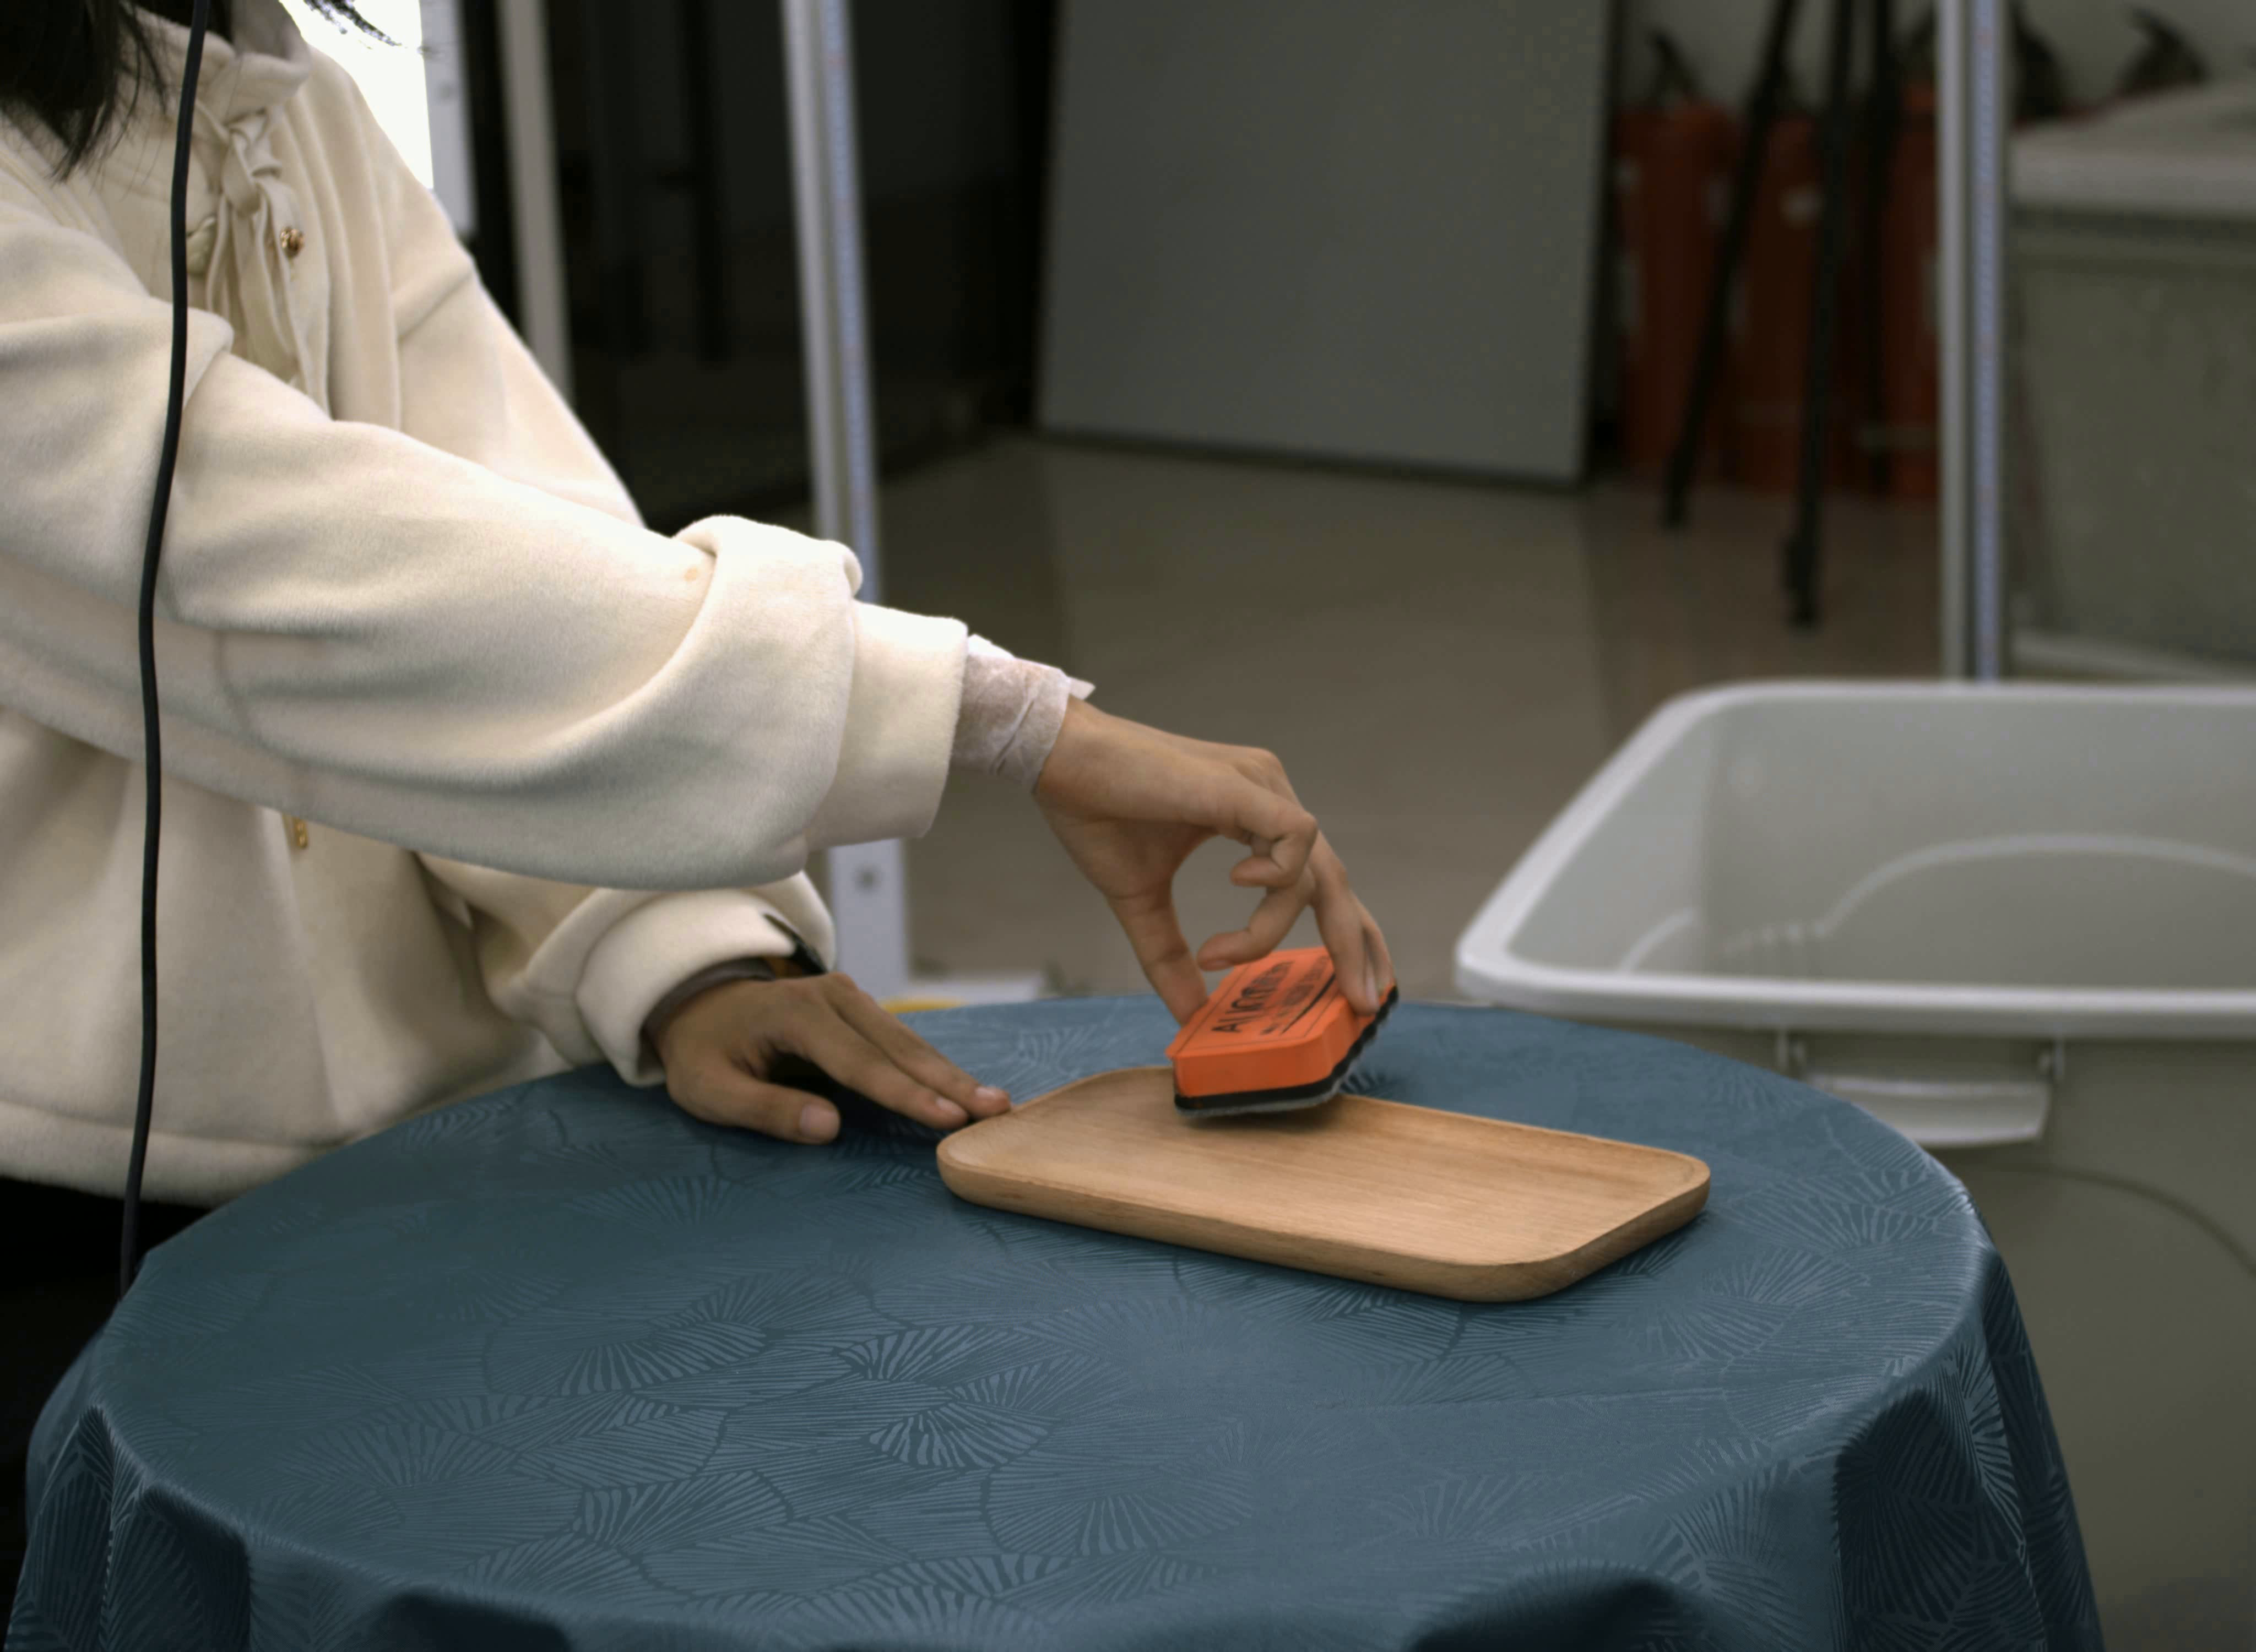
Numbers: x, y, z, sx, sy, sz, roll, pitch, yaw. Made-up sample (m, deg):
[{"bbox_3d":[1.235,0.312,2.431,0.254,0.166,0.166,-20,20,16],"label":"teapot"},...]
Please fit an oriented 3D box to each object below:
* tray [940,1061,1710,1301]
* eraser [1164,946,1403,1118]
[{"bbox_3d":[0.062,0.113,1.745,0.253,0.023,0.128,7,15,41],"label":"tray"},{"bbox_3d":[0.054,0.070,1.839,0.059,0.023,0.107,-7,15,21],"label":"eraser"}]
